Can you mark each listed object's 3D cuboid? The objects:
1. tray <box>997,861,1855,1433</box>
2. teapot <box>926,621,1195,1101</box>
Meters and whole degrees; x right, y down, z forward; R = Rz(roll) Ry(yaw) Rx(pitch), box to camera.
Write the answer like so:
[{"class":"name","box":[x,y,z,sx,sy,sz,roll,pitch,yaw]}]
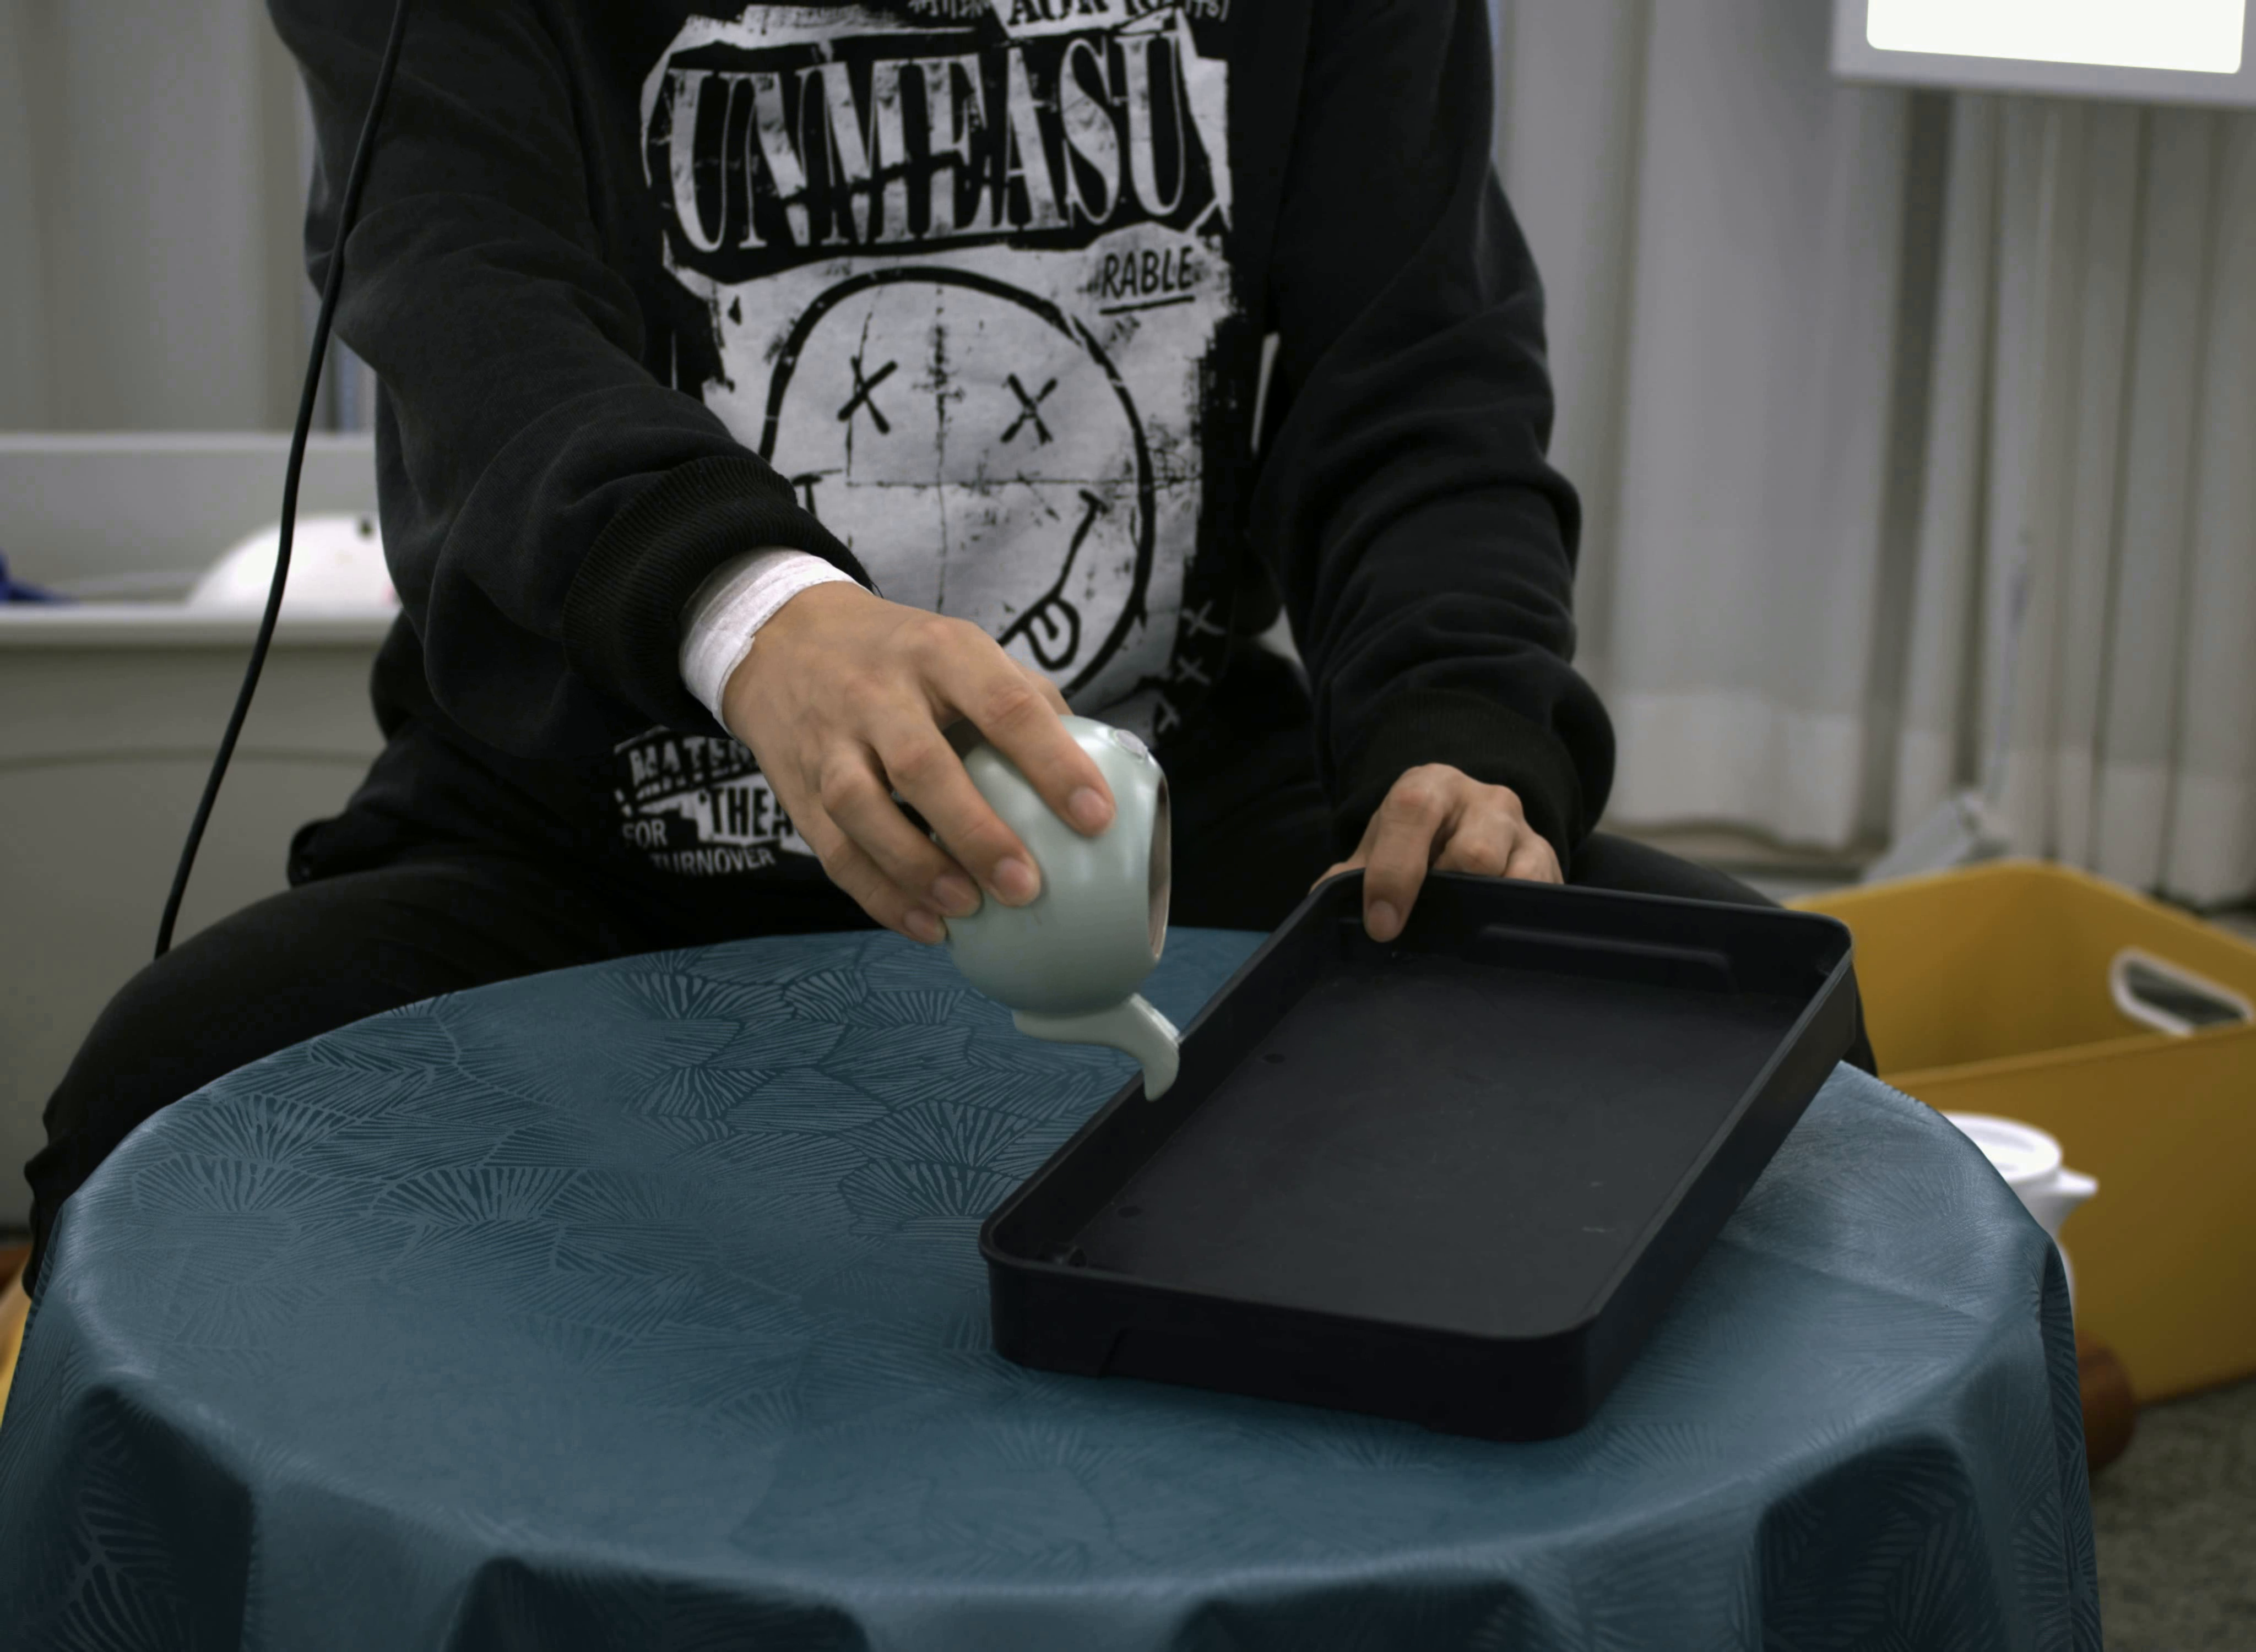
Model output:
[{"class":"tray","box":[0.098,0.088,1.584,0.182,0.037,0.317,5,23,20]},{"class":"teapot","box":[-0.020,0.010,1.534,0.074,0.145,0.088,4,16,5]}]
